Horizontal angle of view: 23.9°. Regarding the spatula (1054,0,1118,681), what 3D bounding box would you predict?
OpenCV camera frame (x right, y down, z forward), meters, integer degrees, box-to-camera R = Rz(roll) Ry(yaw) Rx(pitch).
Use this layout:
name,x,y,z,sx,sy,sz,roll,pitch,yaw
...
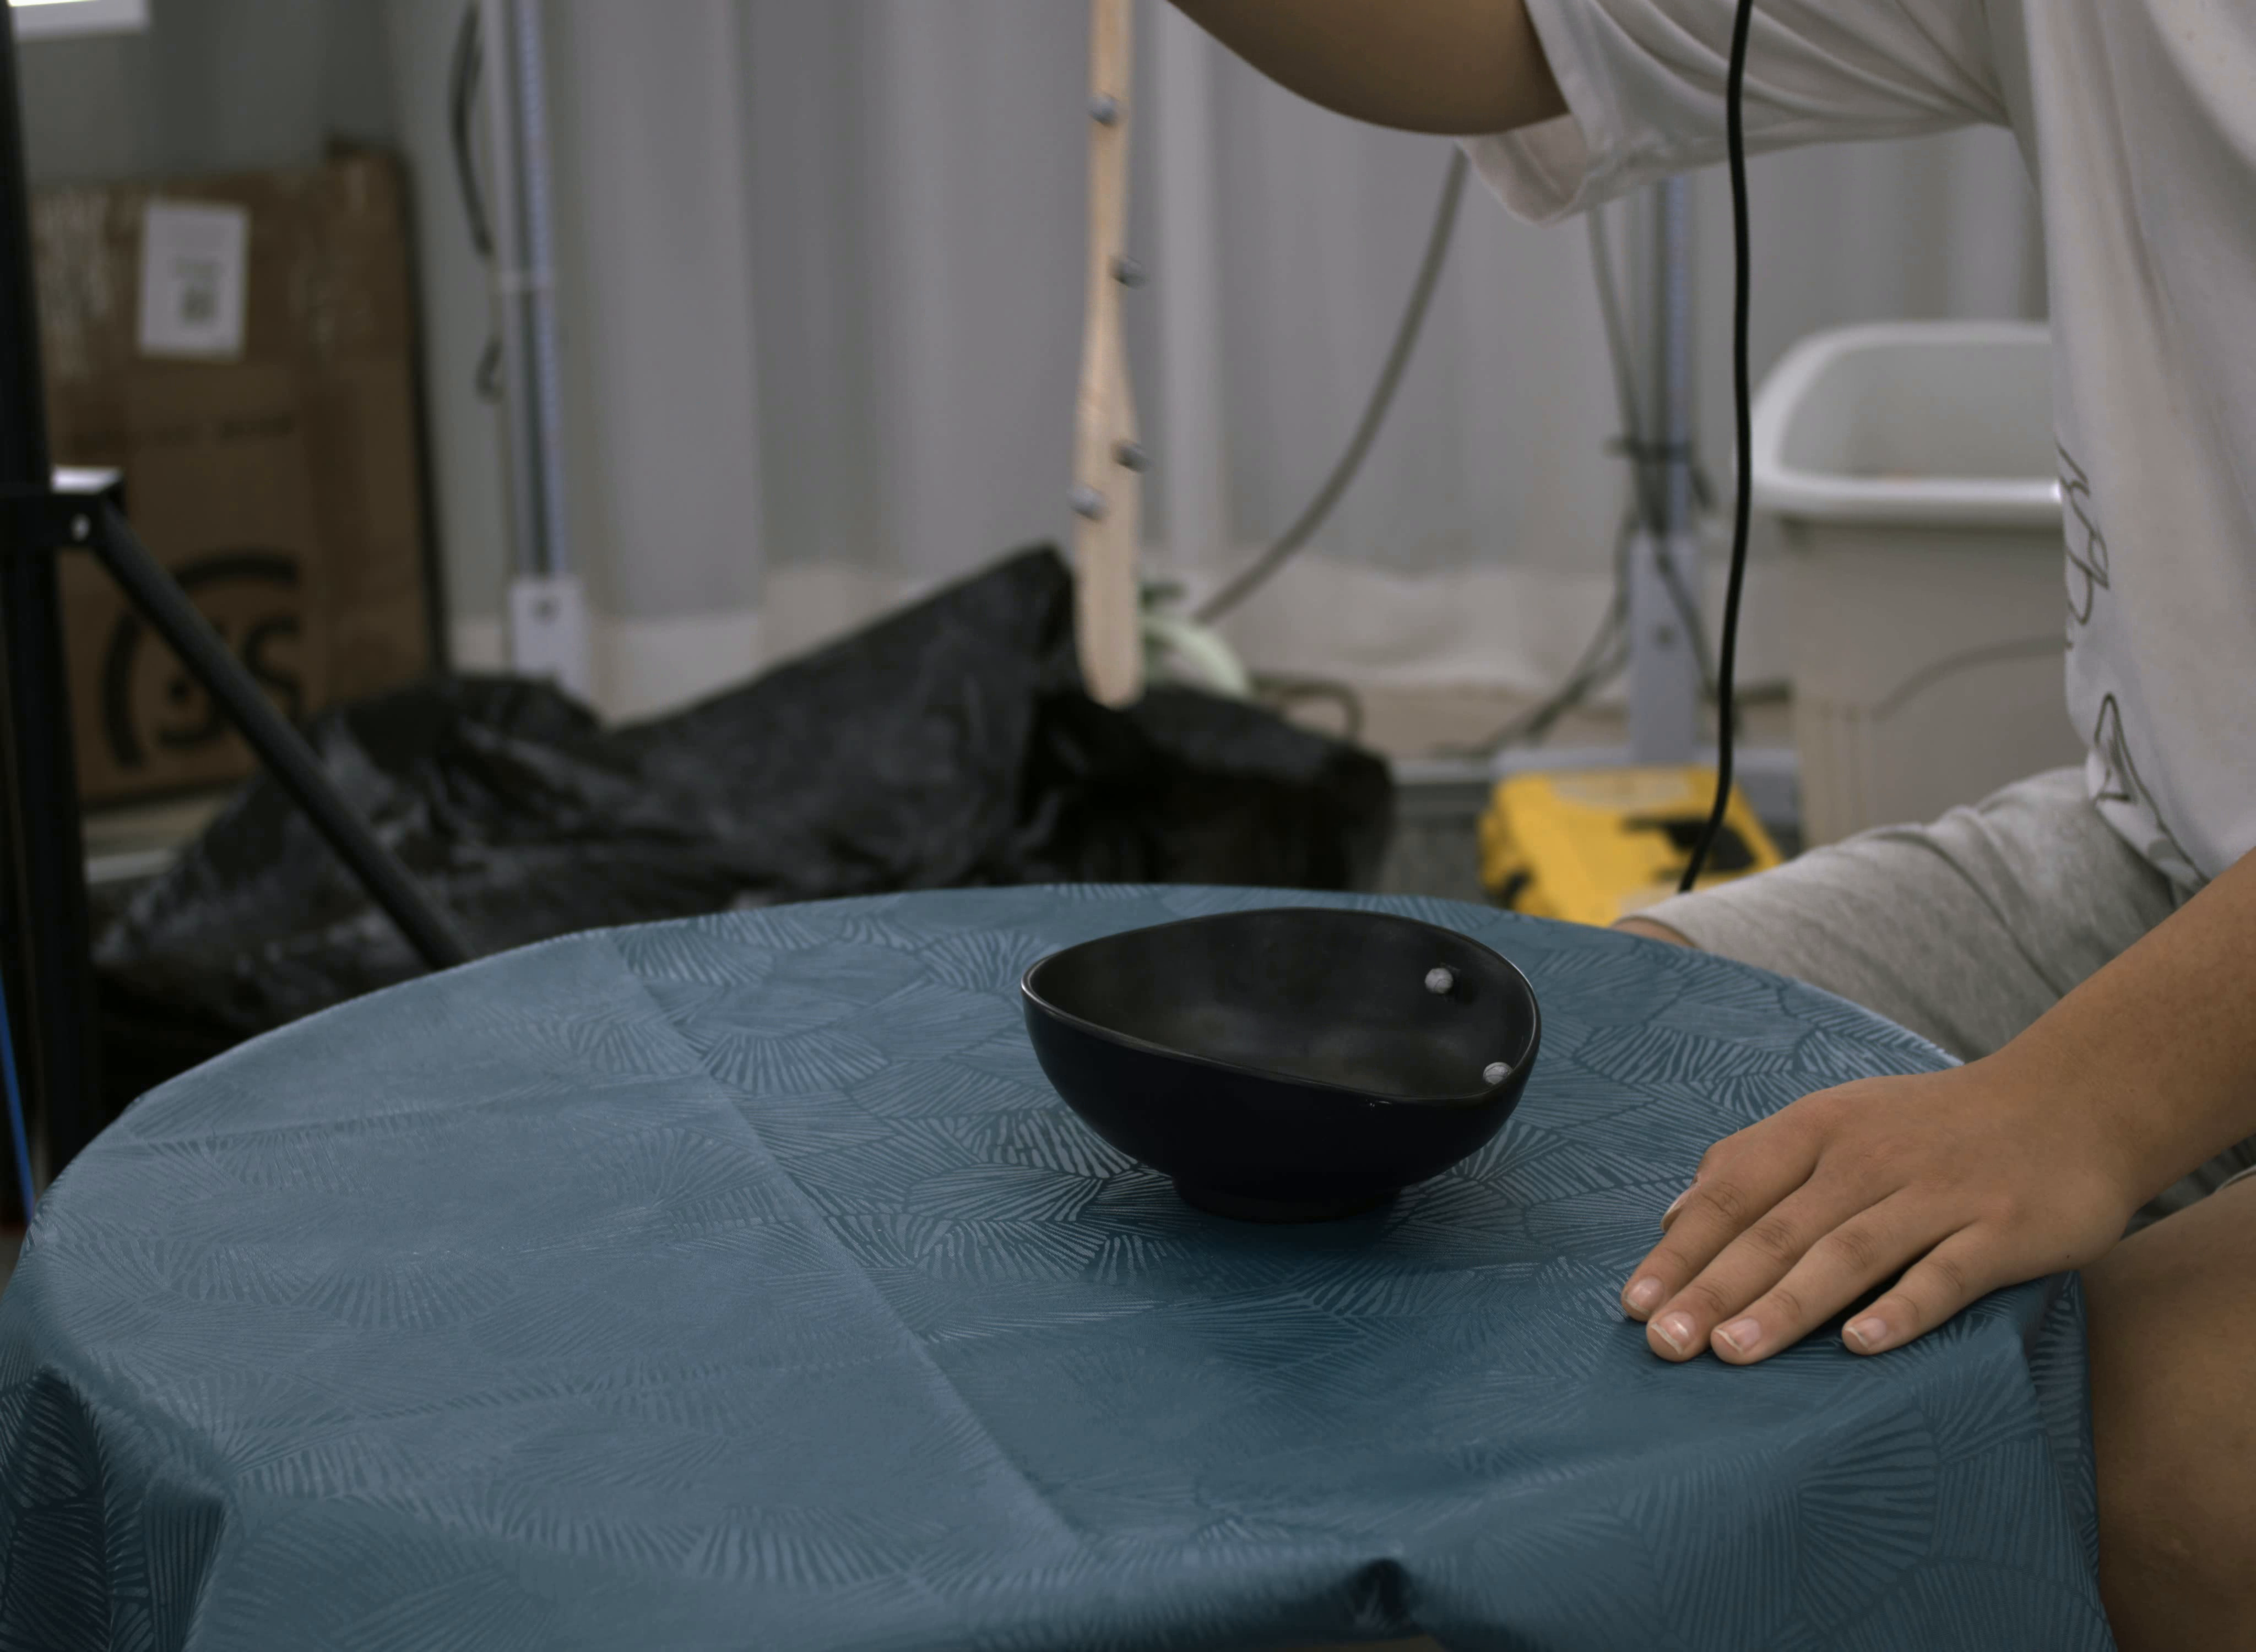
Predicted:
name,x,y,z,sx,sy,sz,roll,pitch,yaw
spatula,-0.010,-0.189,1.556,0.011,0.294,0.071,2,4,10

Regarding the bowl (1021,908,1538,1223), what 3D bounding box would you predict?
name,x,y,z,sx,sy,sz,roll,pitch,yaw
bowl,0.045,0.074,1.554,0.134,0.067,0.174,-16,22,-41
